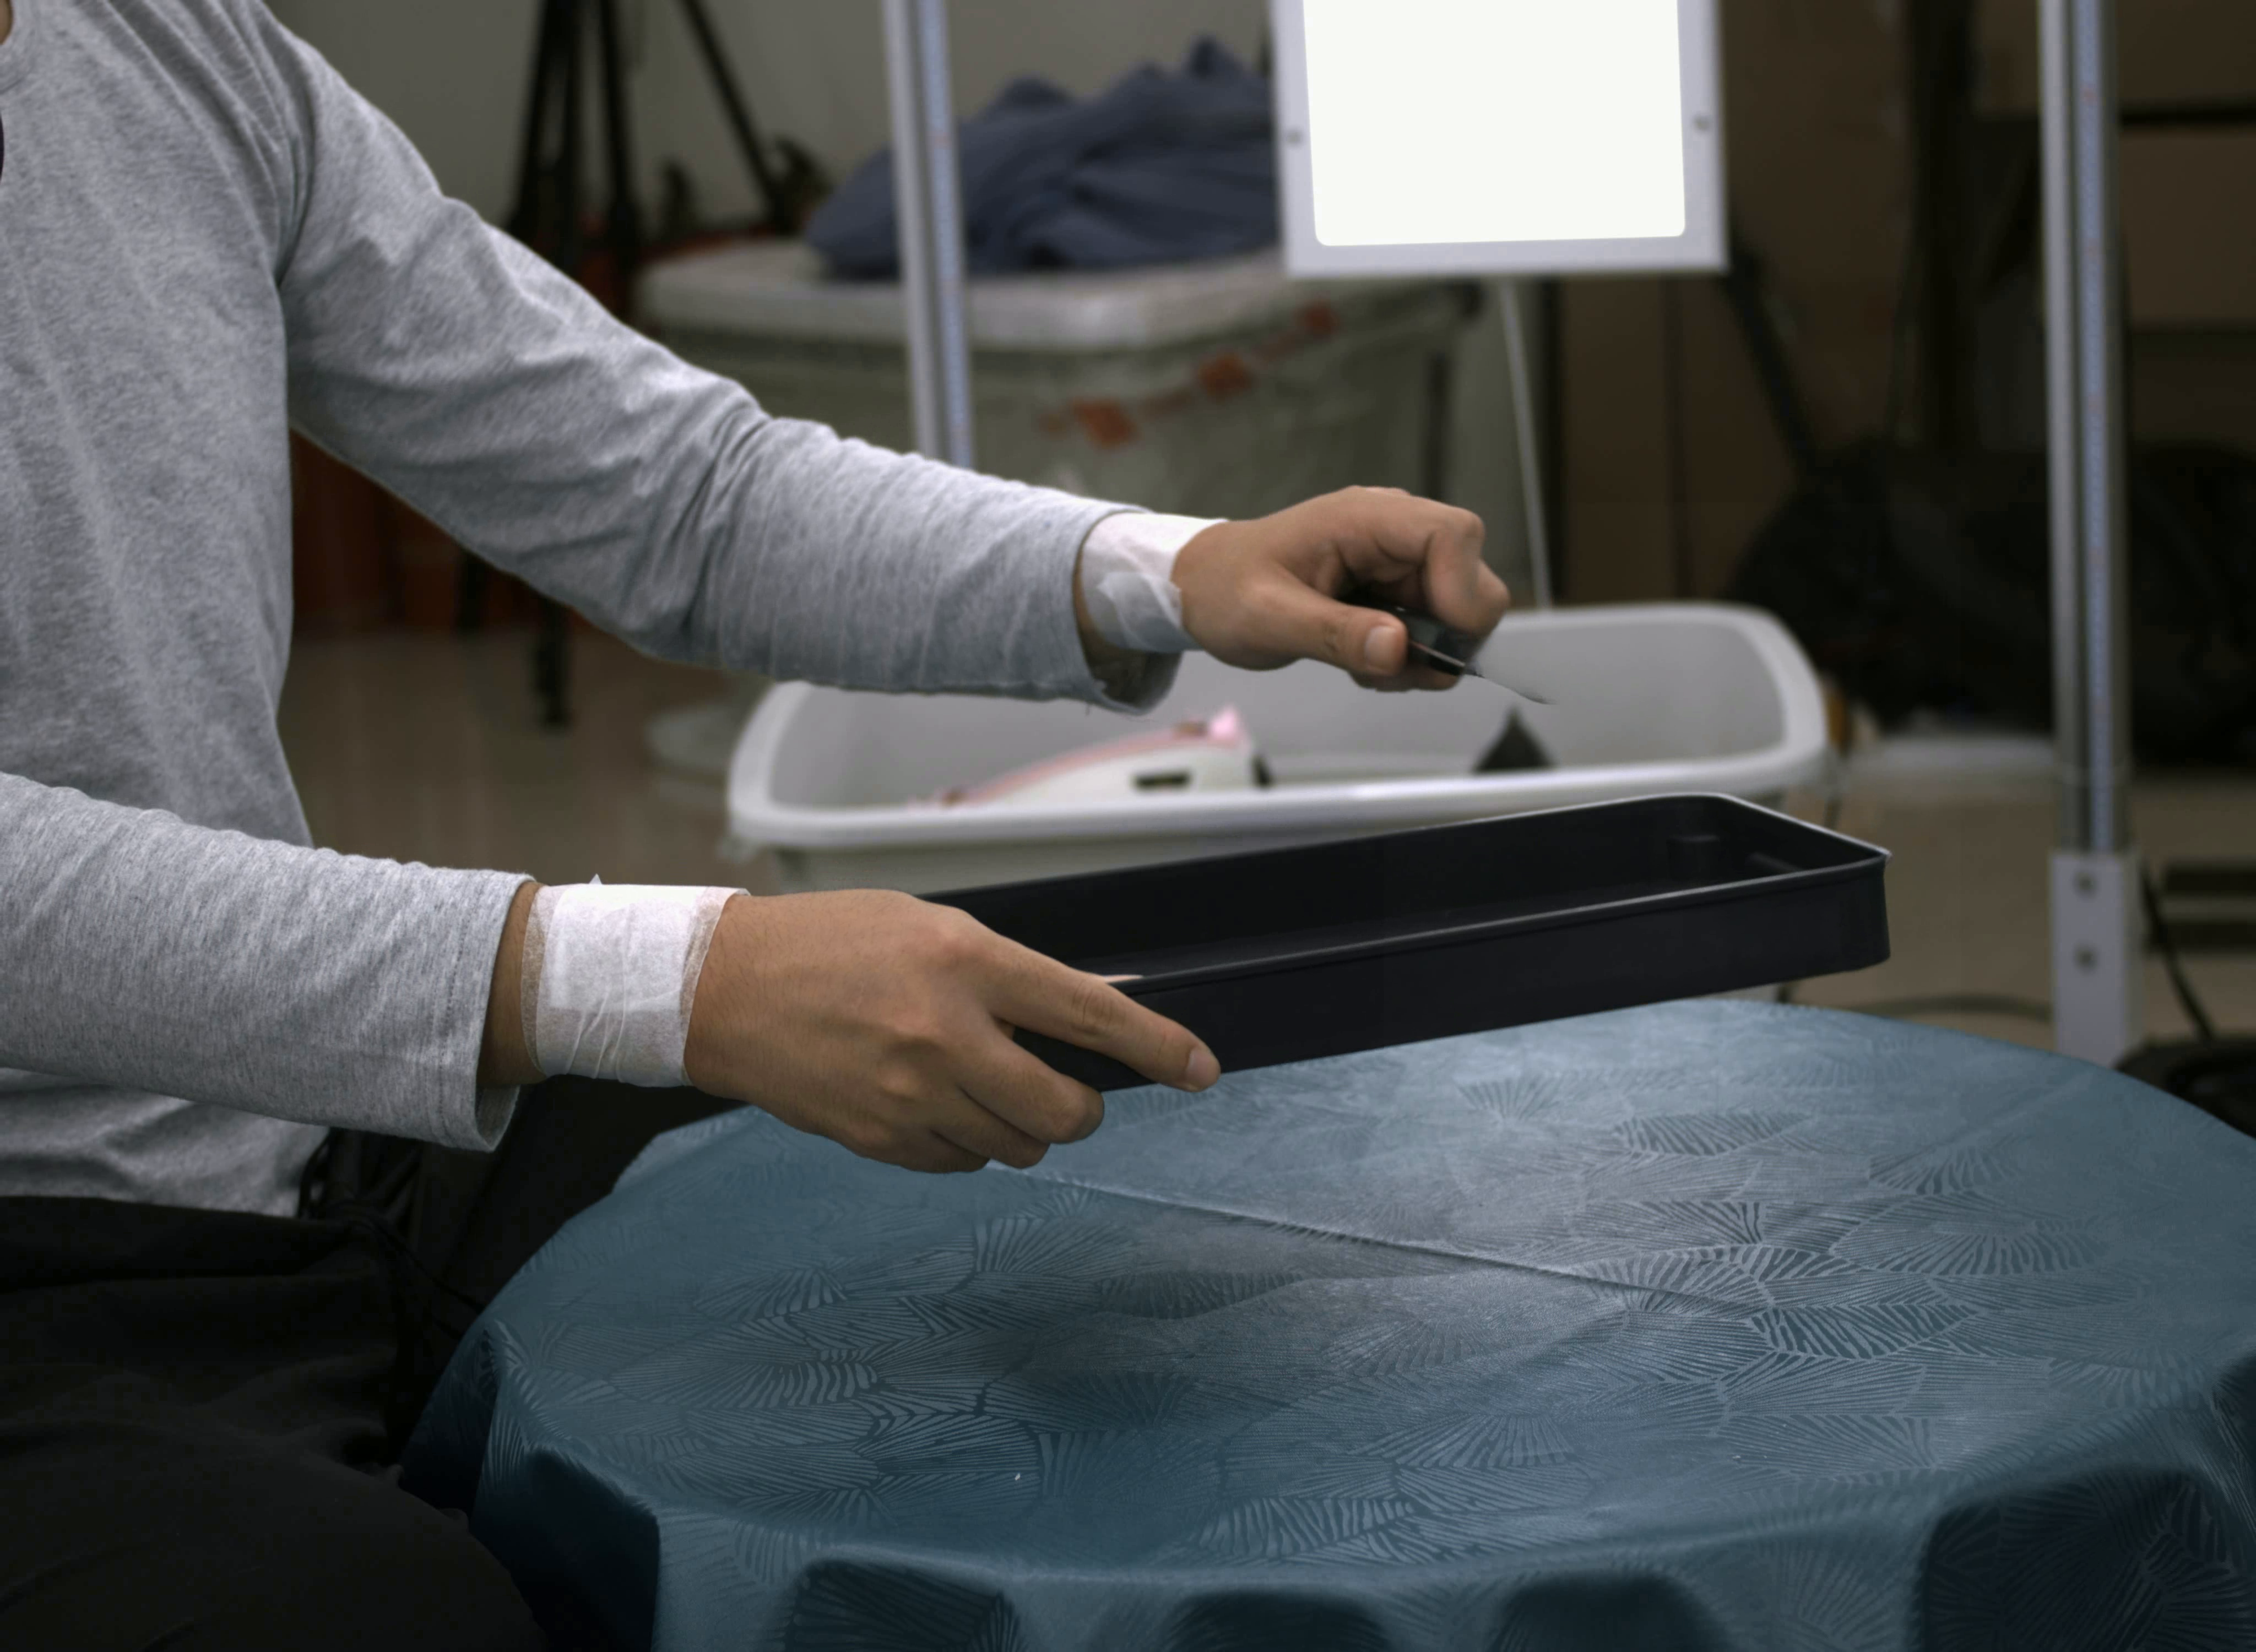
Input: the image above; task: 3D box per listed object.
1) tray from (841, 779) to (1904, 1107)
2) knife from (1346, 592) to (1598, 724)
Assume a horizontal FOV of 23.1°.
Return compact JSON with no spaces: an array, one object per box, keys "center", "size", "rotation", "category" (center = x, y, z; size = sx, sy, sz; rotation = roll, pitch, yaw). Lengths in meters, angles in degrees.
[{"center":[0.078,0.034,1.776],"size":[0.314,0.037,0.186],"rotation":[-10,9,-13],"category":"tray"},{"center":[0.116,-0.056,1.865],"size":[0.024,0.016,0.240],"rotation":[11,7,-17],"category":"knife"}]
